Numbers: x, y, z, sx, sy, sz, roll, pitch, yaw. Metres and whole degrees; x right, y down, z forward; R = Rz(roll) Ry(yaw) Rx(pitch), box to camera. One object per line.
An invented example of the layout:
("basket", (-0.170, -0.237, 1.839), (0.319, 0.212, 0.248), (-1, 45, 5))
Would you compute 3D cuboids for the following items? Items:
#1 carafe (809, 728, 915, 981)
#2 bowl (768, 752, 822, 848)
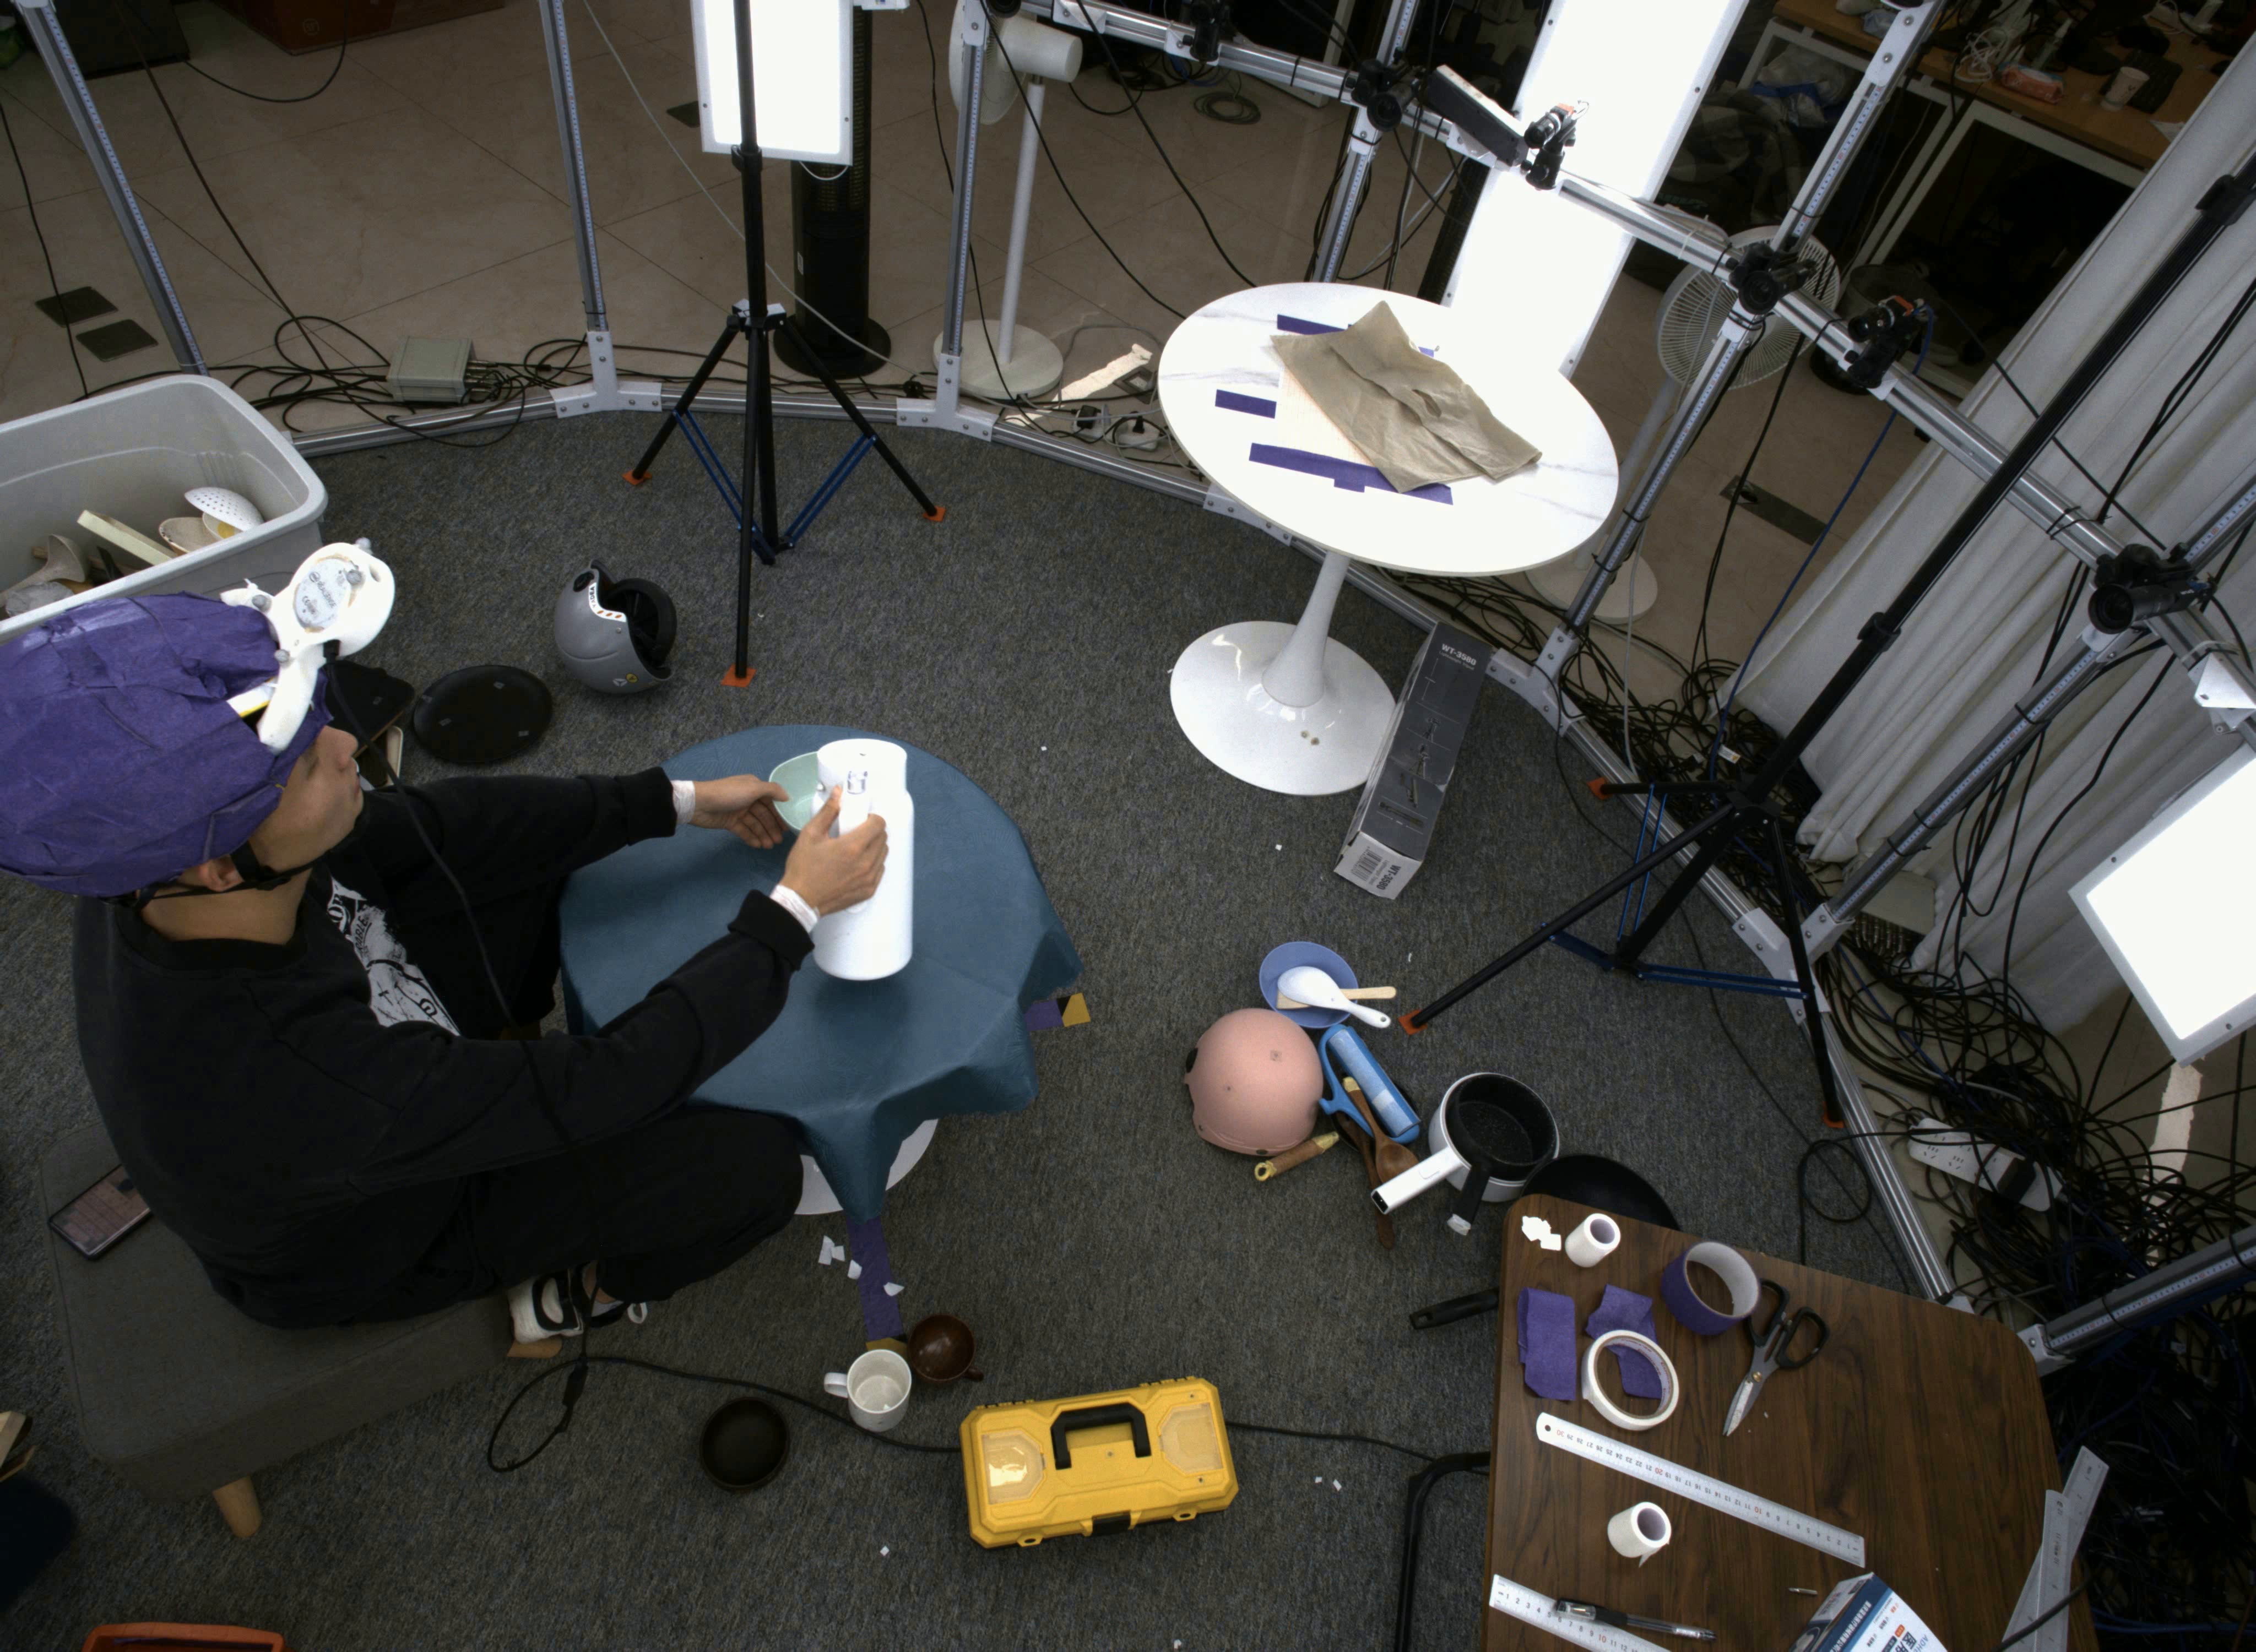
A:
("carafe", (-0.303, 0.043, 1.484), (0.123, 0.276, 0.168), (2, 26, -9))
("bowl", (-0.390, -0.026, 1.677), (0.151, 0.060, 0.148), (7, 48, -6))
